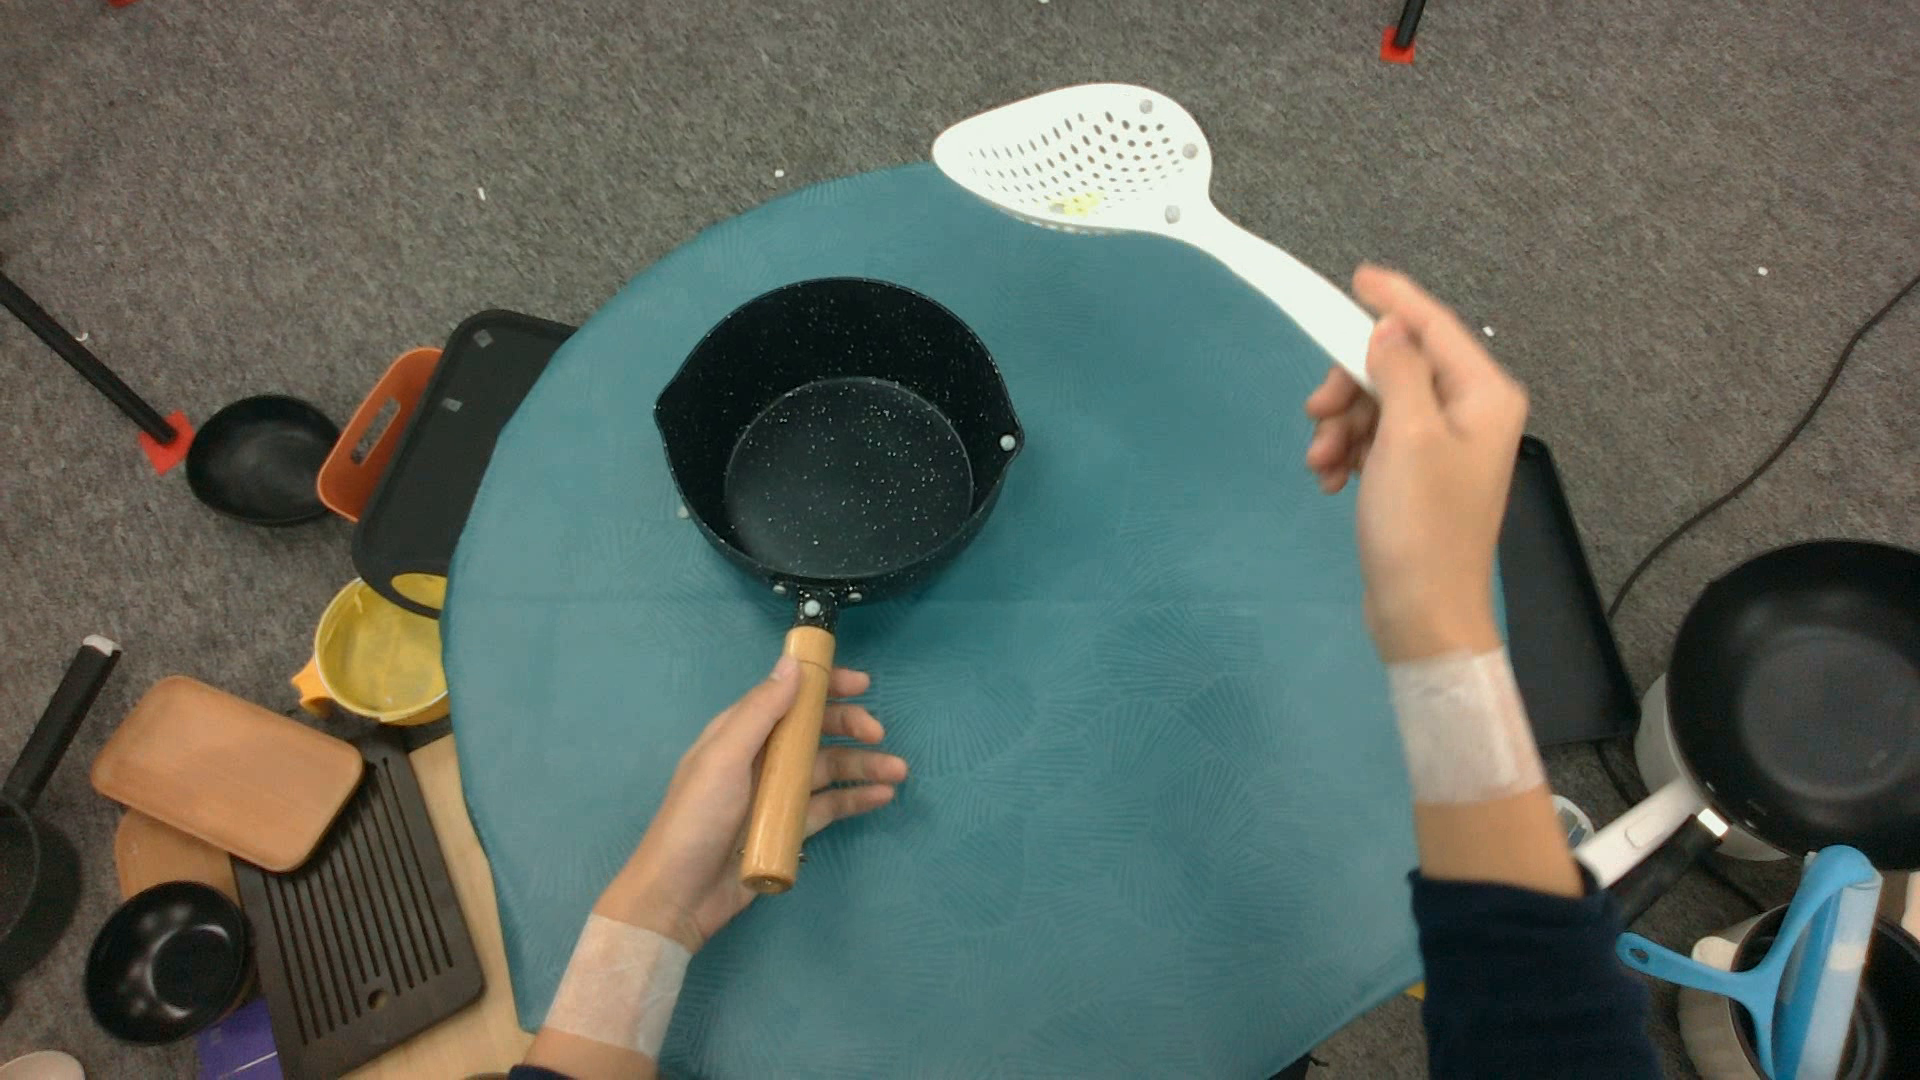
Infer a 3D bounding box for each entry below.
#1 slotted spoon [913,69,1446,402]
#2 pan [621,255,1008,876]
[{"bbox_3d":[0.097,-0.154,0.656,0.137,0.050,0.348,-22,38,-18],"label":"slotted spoon"},{"bbox_3d":[-0.082,0.011,0.726,0.207,0.108,0.344,4,66,-1],"label":"pan"}]
